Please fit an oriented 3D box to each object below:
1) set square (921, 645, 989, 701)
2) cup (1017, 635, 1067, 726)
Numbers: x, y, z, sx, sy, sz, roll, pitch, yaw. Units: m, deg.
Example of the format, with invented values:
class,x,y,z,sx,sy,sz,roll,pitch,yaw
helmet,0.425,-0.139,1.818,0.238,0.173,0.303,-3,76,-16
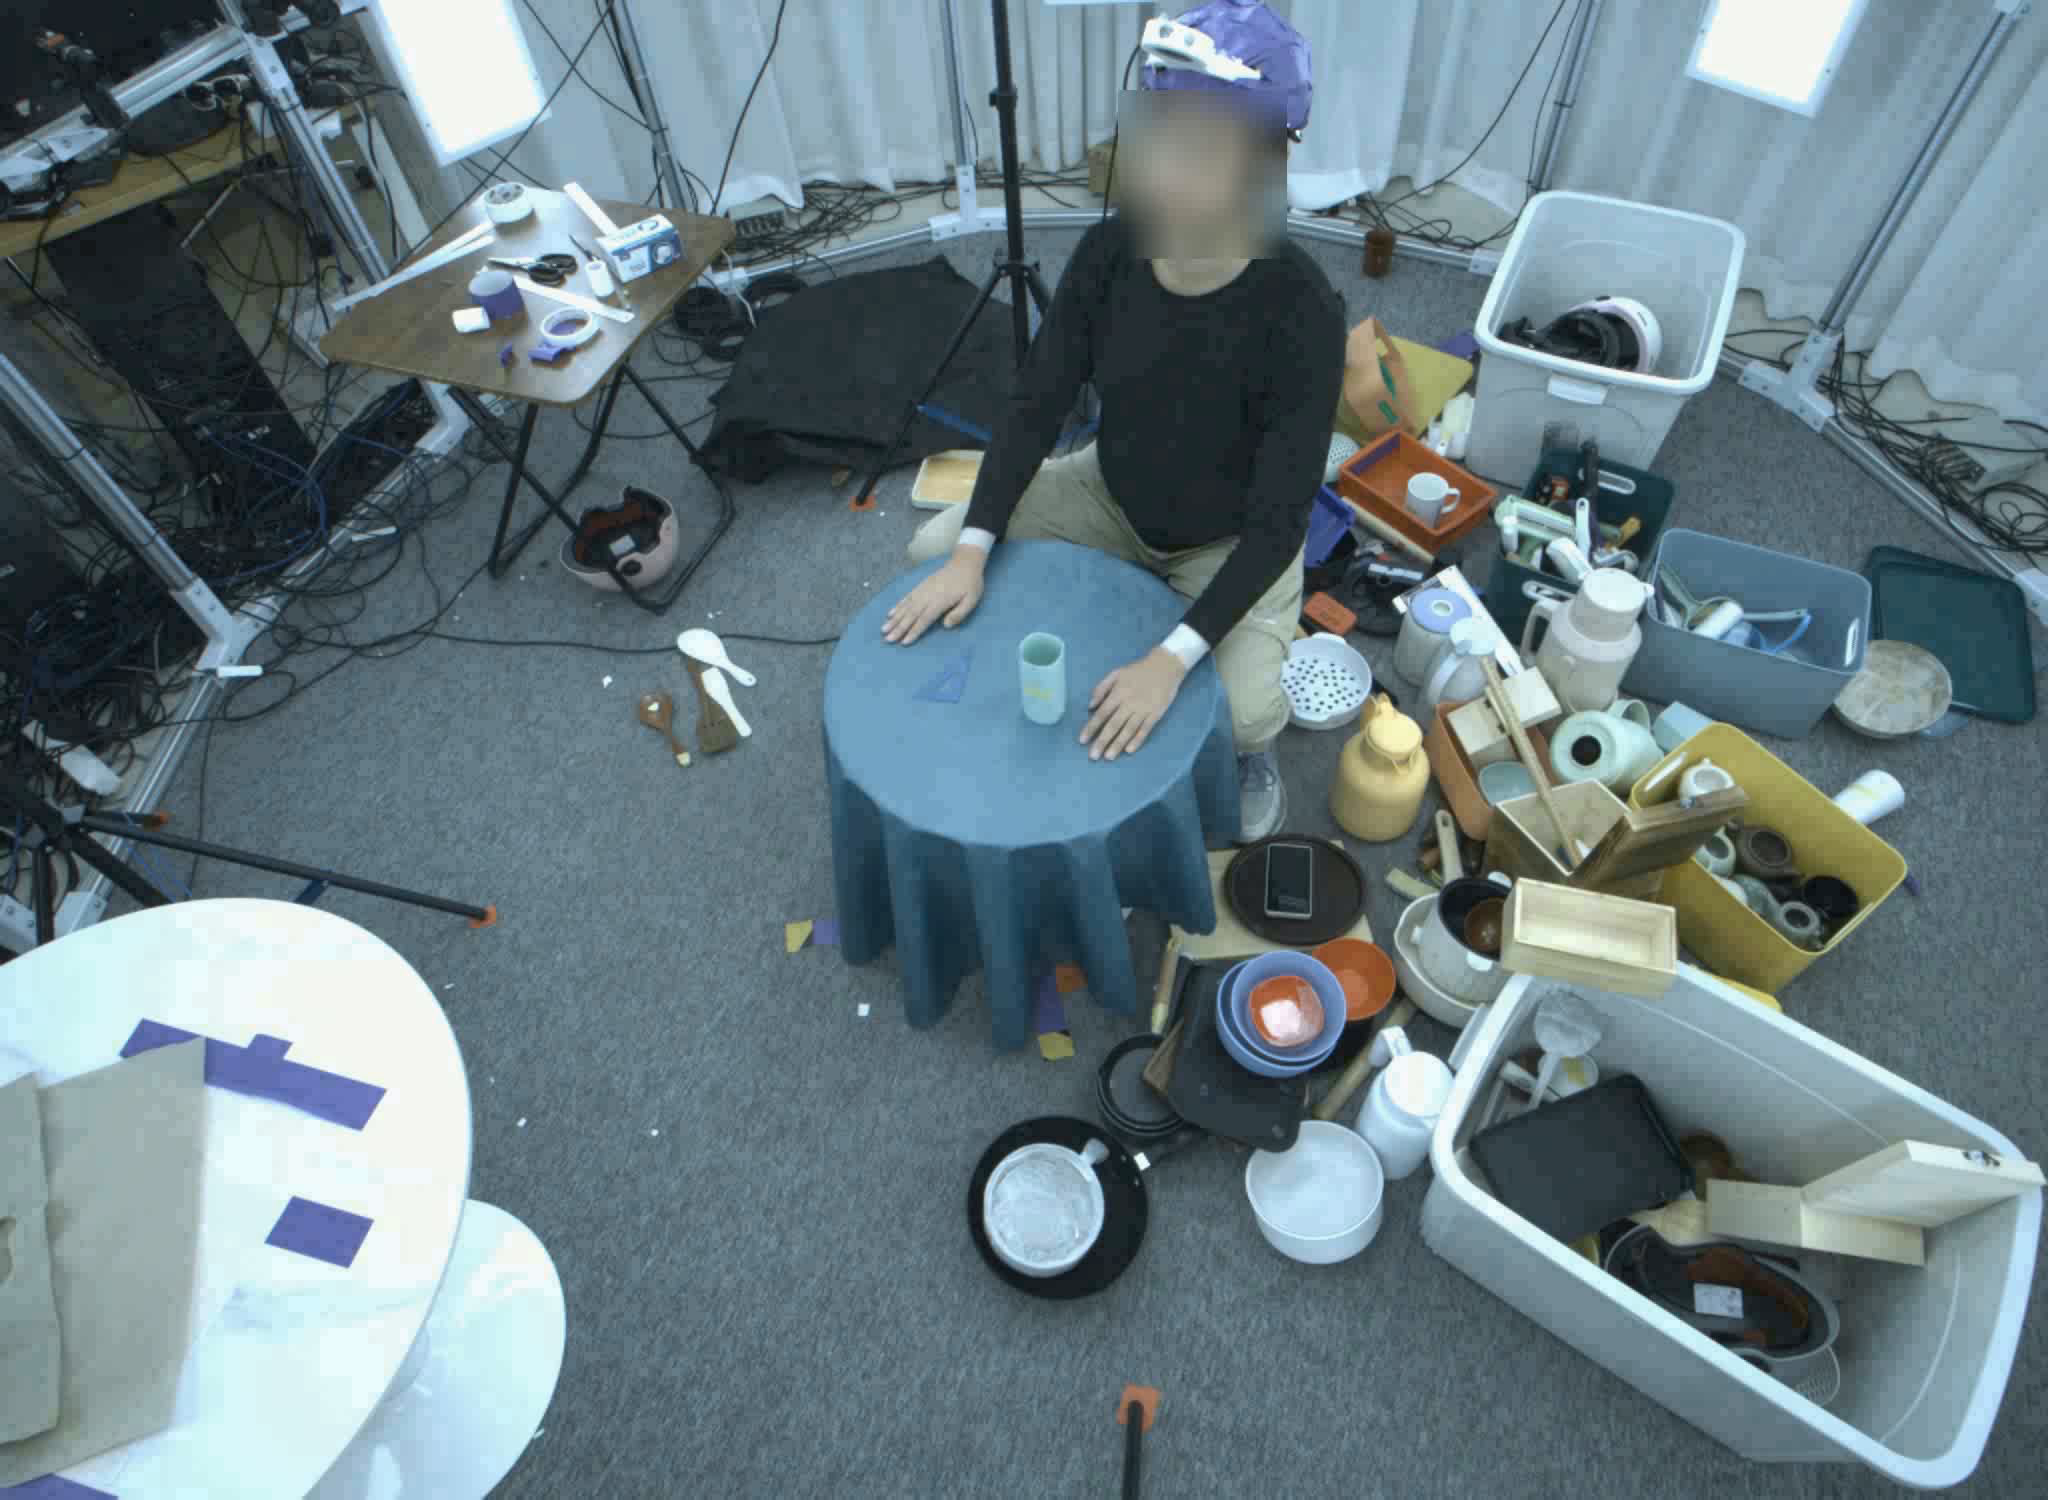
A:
class,x,y,z,sx,sy,sz,roll,pitch,yaw
set square,-0.090,-0.112,1.867,0.060,0.006,0.133,38,64,27
cup,0.029,-0.100,1.782,0.066,0.134,0.066,-2,55,4
